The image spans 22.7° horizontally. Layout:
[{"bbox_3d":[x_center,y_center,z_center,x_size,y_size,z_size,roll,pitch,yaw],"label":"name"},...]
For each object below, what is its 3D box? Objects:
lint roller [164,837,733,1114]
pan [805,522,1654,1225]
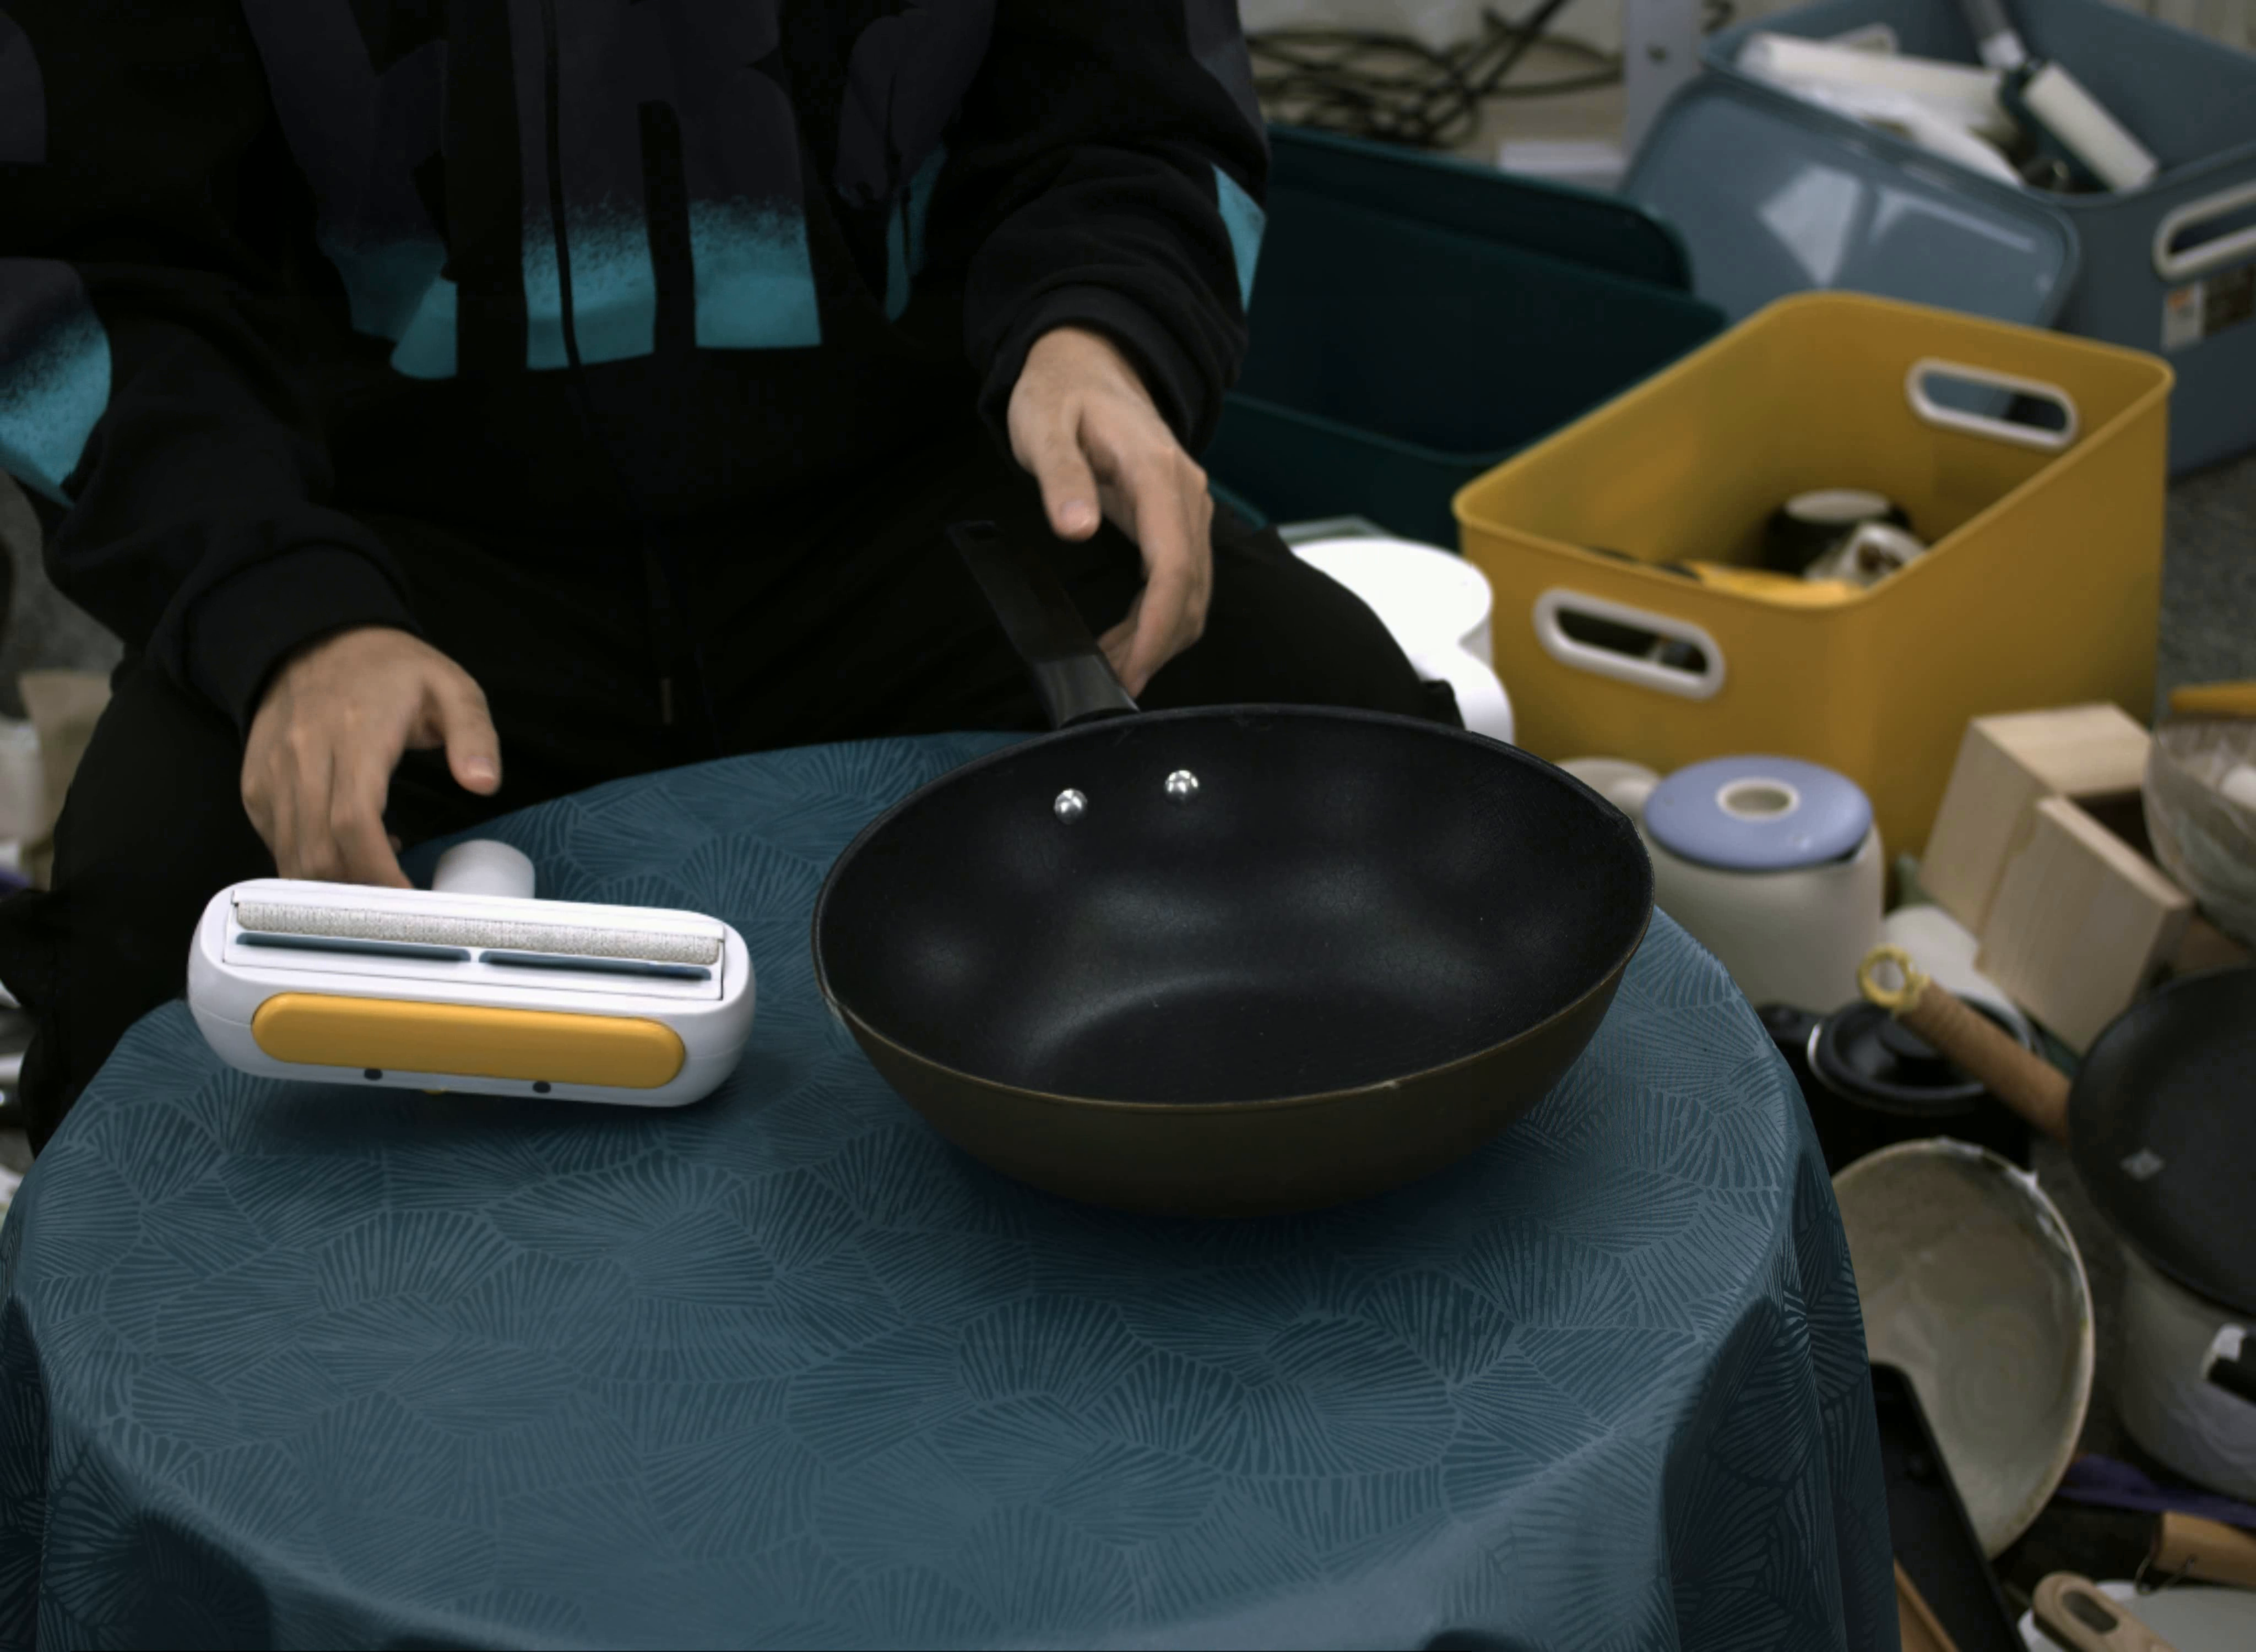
[{"bbox_3d":[-0.231,0.038,1.971,0.192,0.073,0.195,2,26,-1],"label":"lint roller"},{"bbox_3d":[0.009,0.018,1.969,0.288,0.086,0.468,-10,28,-14],"label":"pan"}]
